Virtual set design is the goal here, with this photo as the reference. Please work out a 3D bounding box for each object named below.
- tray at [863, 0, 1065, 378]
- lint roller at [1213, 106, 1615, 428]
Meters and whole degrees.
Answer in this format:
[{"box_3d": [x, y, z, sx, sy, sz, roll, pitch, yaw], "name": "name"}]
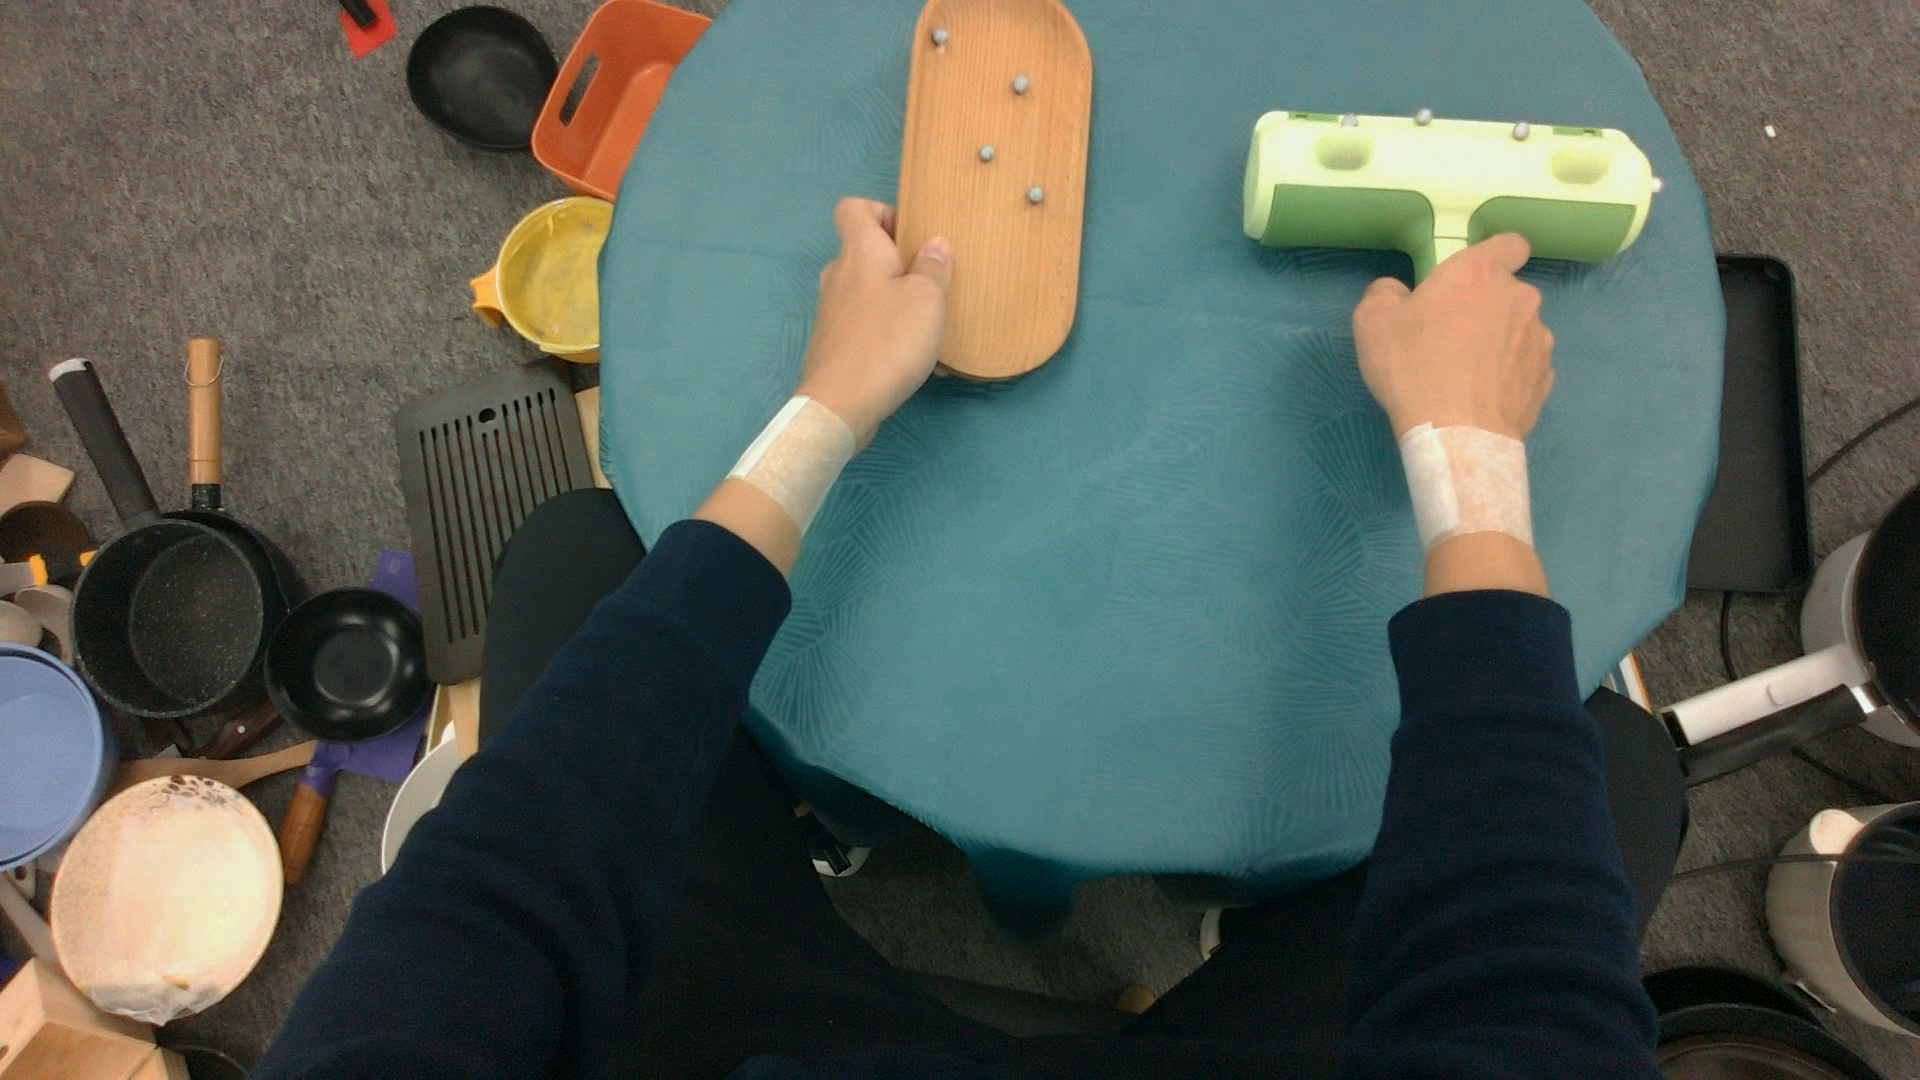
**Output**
[{"box_3d": [0.003, -0.195, 0.732, 0.102, 0.020, 0.231, 7, 76, -12], "name": "tray"}, {"box_3d": [0.232, -0.148, 0.675, 0.198, 0.082, 0.184, 0, 57, -1], "name": "lint roller"}]
